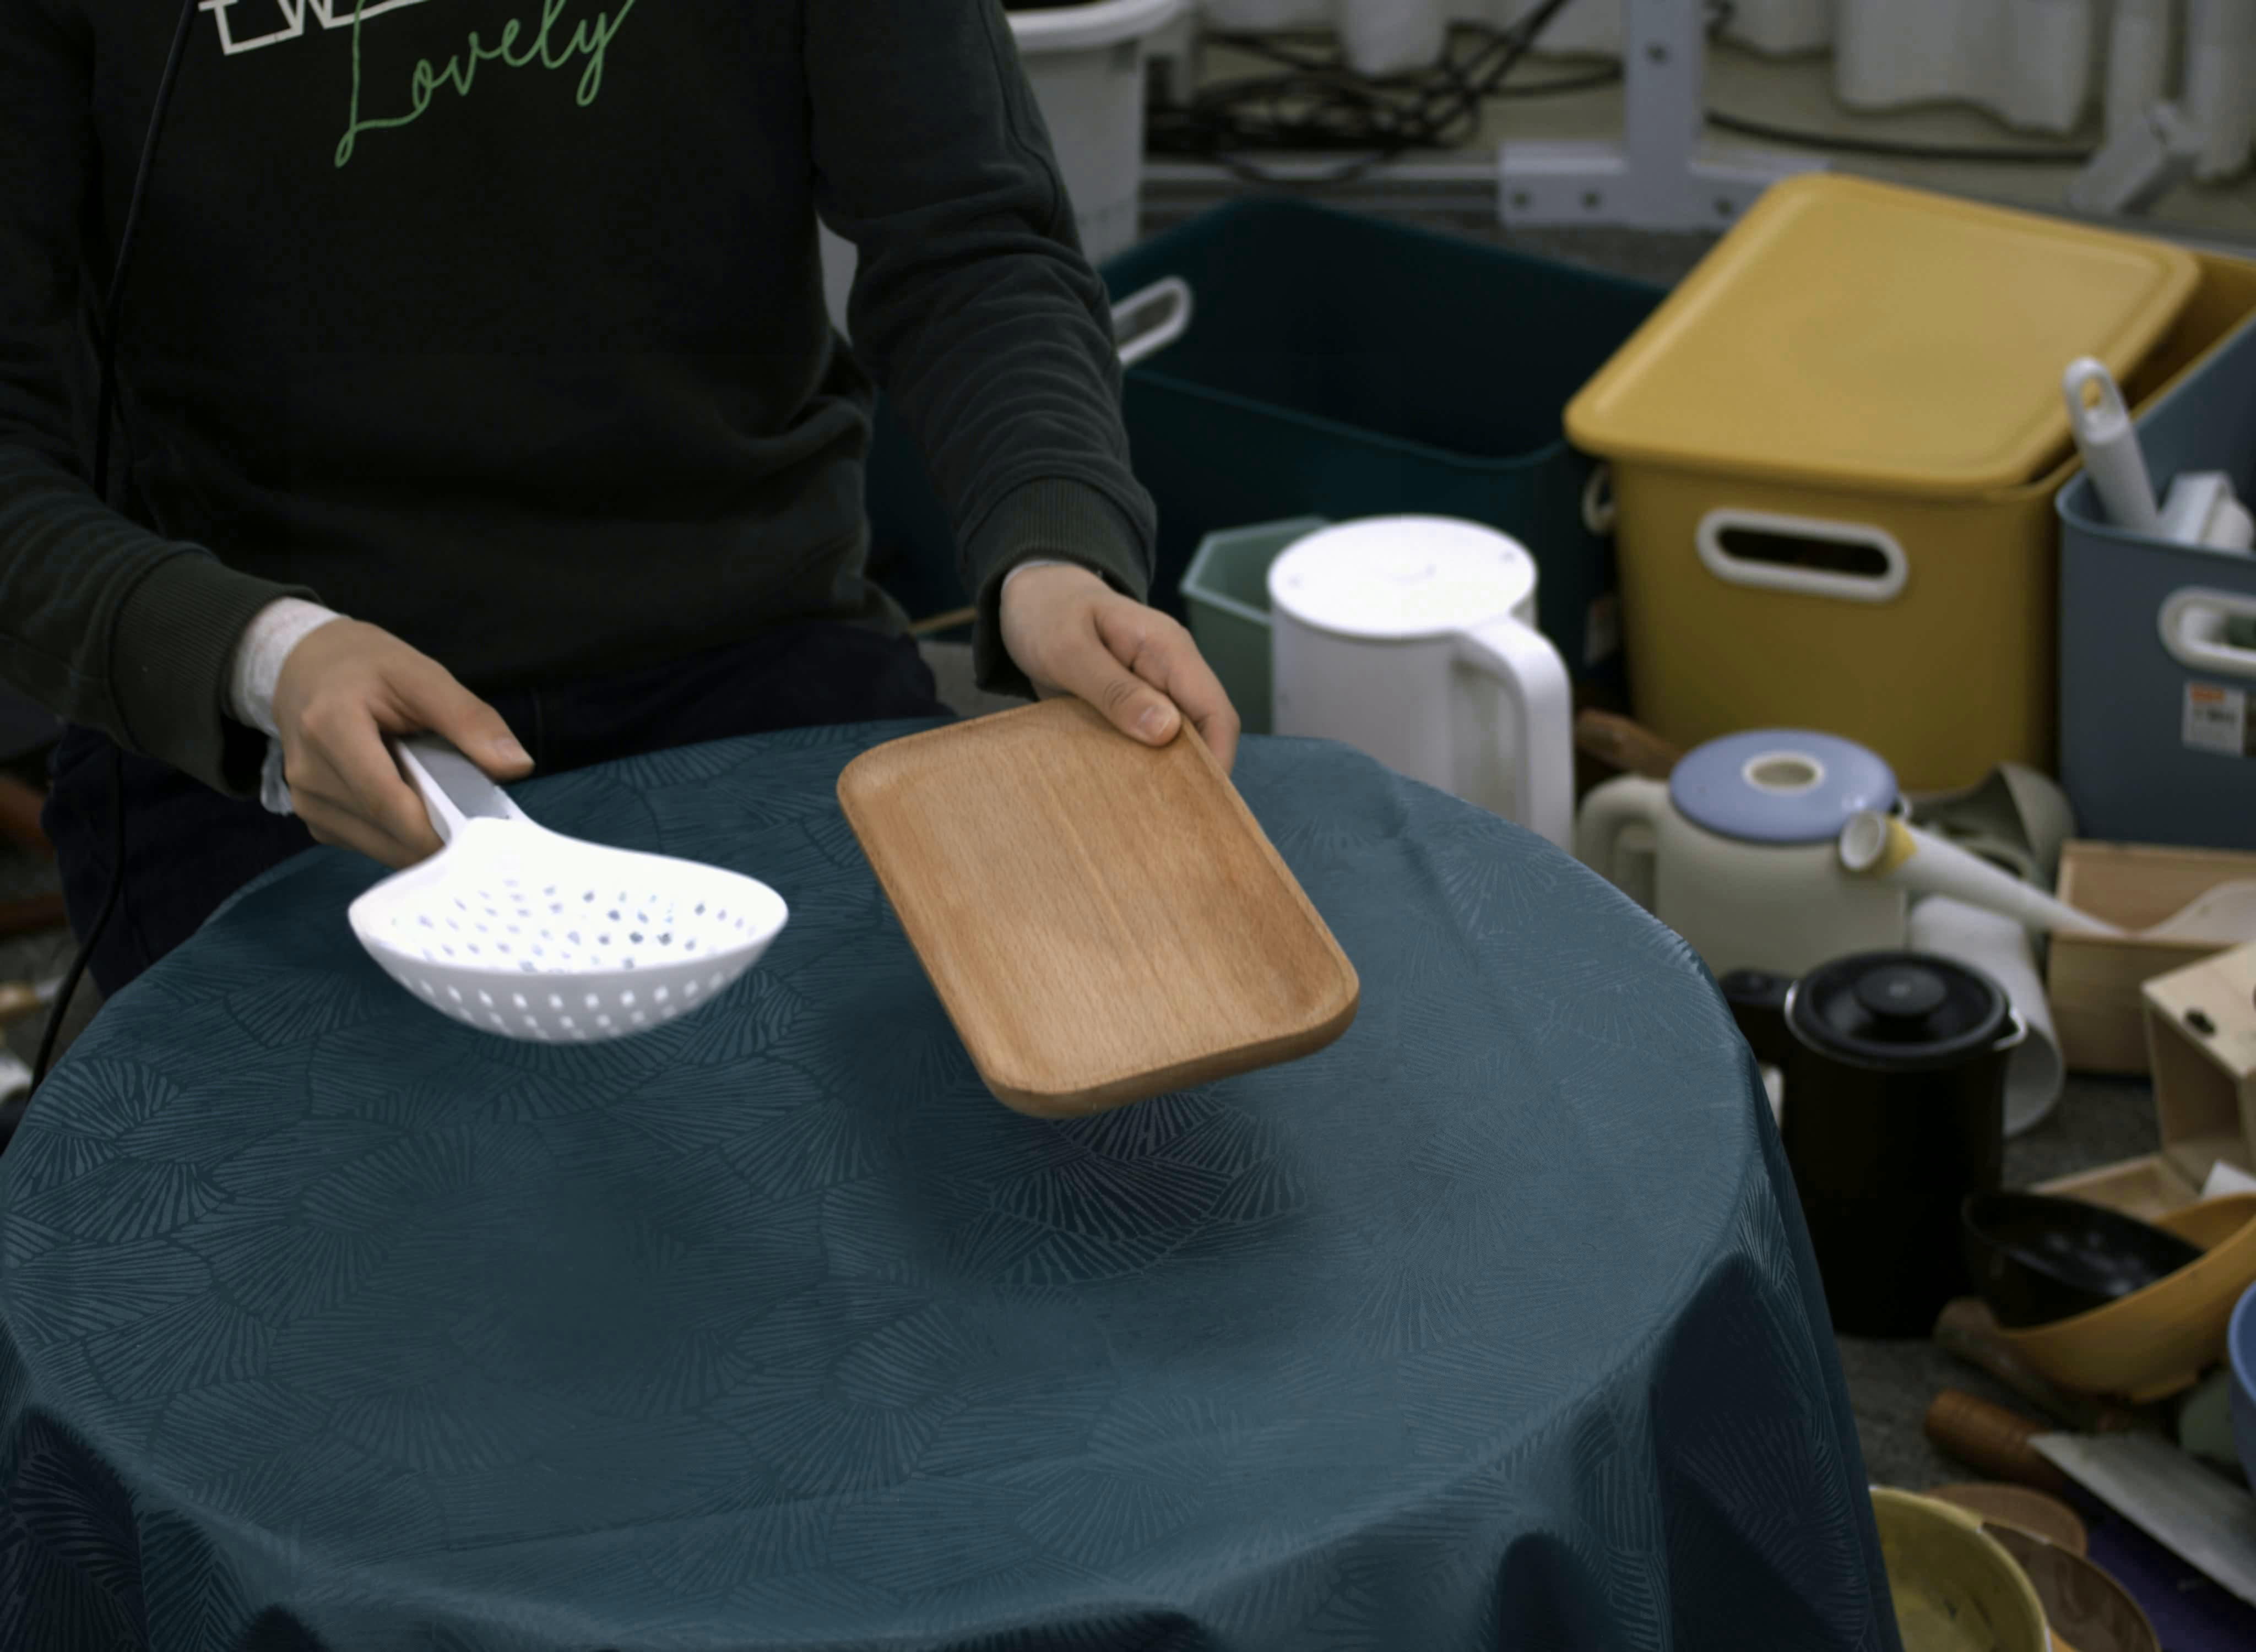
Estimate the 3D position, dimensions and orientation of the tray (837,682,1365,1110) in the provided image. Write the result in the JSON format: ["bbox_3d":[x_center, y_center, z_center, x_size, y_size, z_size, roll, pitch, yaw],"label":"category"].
[{"bbox_3d":[-0.012,0.021,1.884,0.130,0.022,0.253,-12,28,-12],"label":"tray"}]

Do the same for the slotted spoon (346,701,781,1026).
[{"bbox_3d":[-0.209,0.004,1.855,0.136,0.045,0.352,-2,19,-17],"label":"slotted spoon"}]
